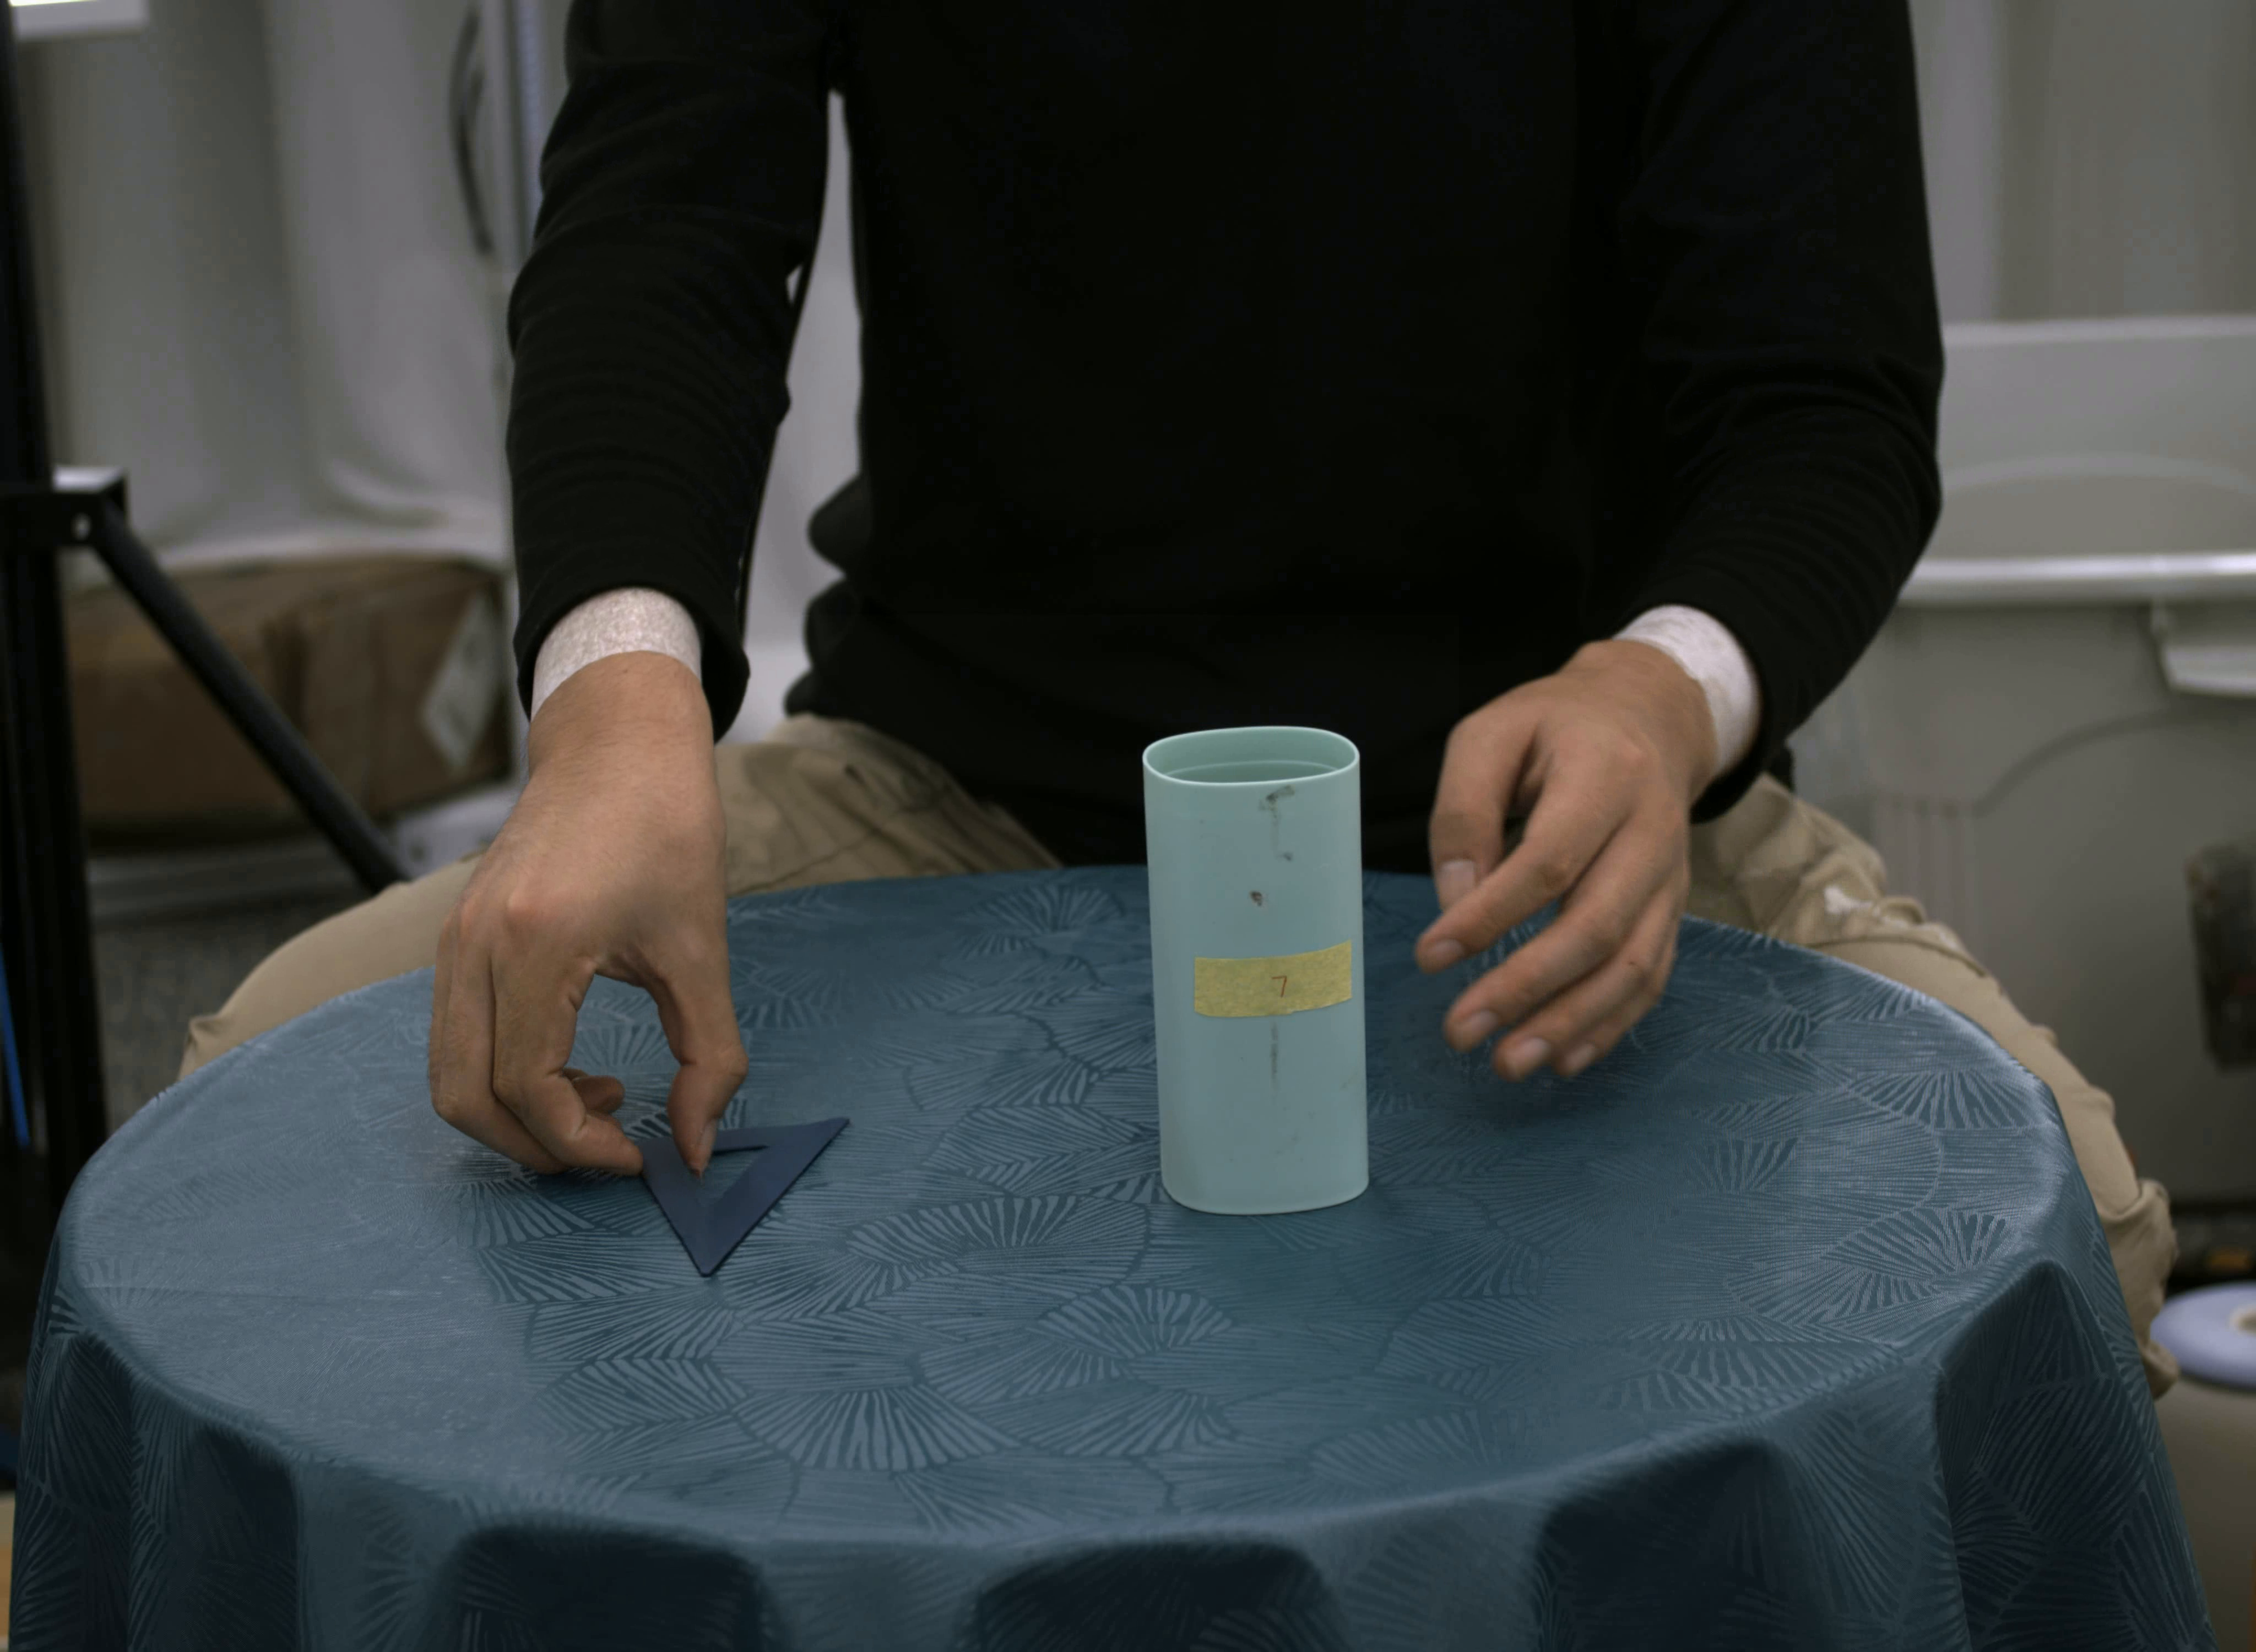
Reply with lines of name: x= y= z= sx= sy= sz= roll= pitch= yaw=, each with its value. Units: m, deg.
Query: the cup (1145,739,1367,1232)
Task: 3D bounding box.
cup: x=0.038 y=0.045 z=1.547 sx=0.066 sy=0.132 sz=0.067 roll=-3 pitch=15 yaw=-1

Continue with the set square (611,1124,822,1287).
set square: x=-0.139 y=0.108 z=1.570 sx=0.062 sy=0.006 sz=0.130 roll=4 pitch=18 yaw=19
